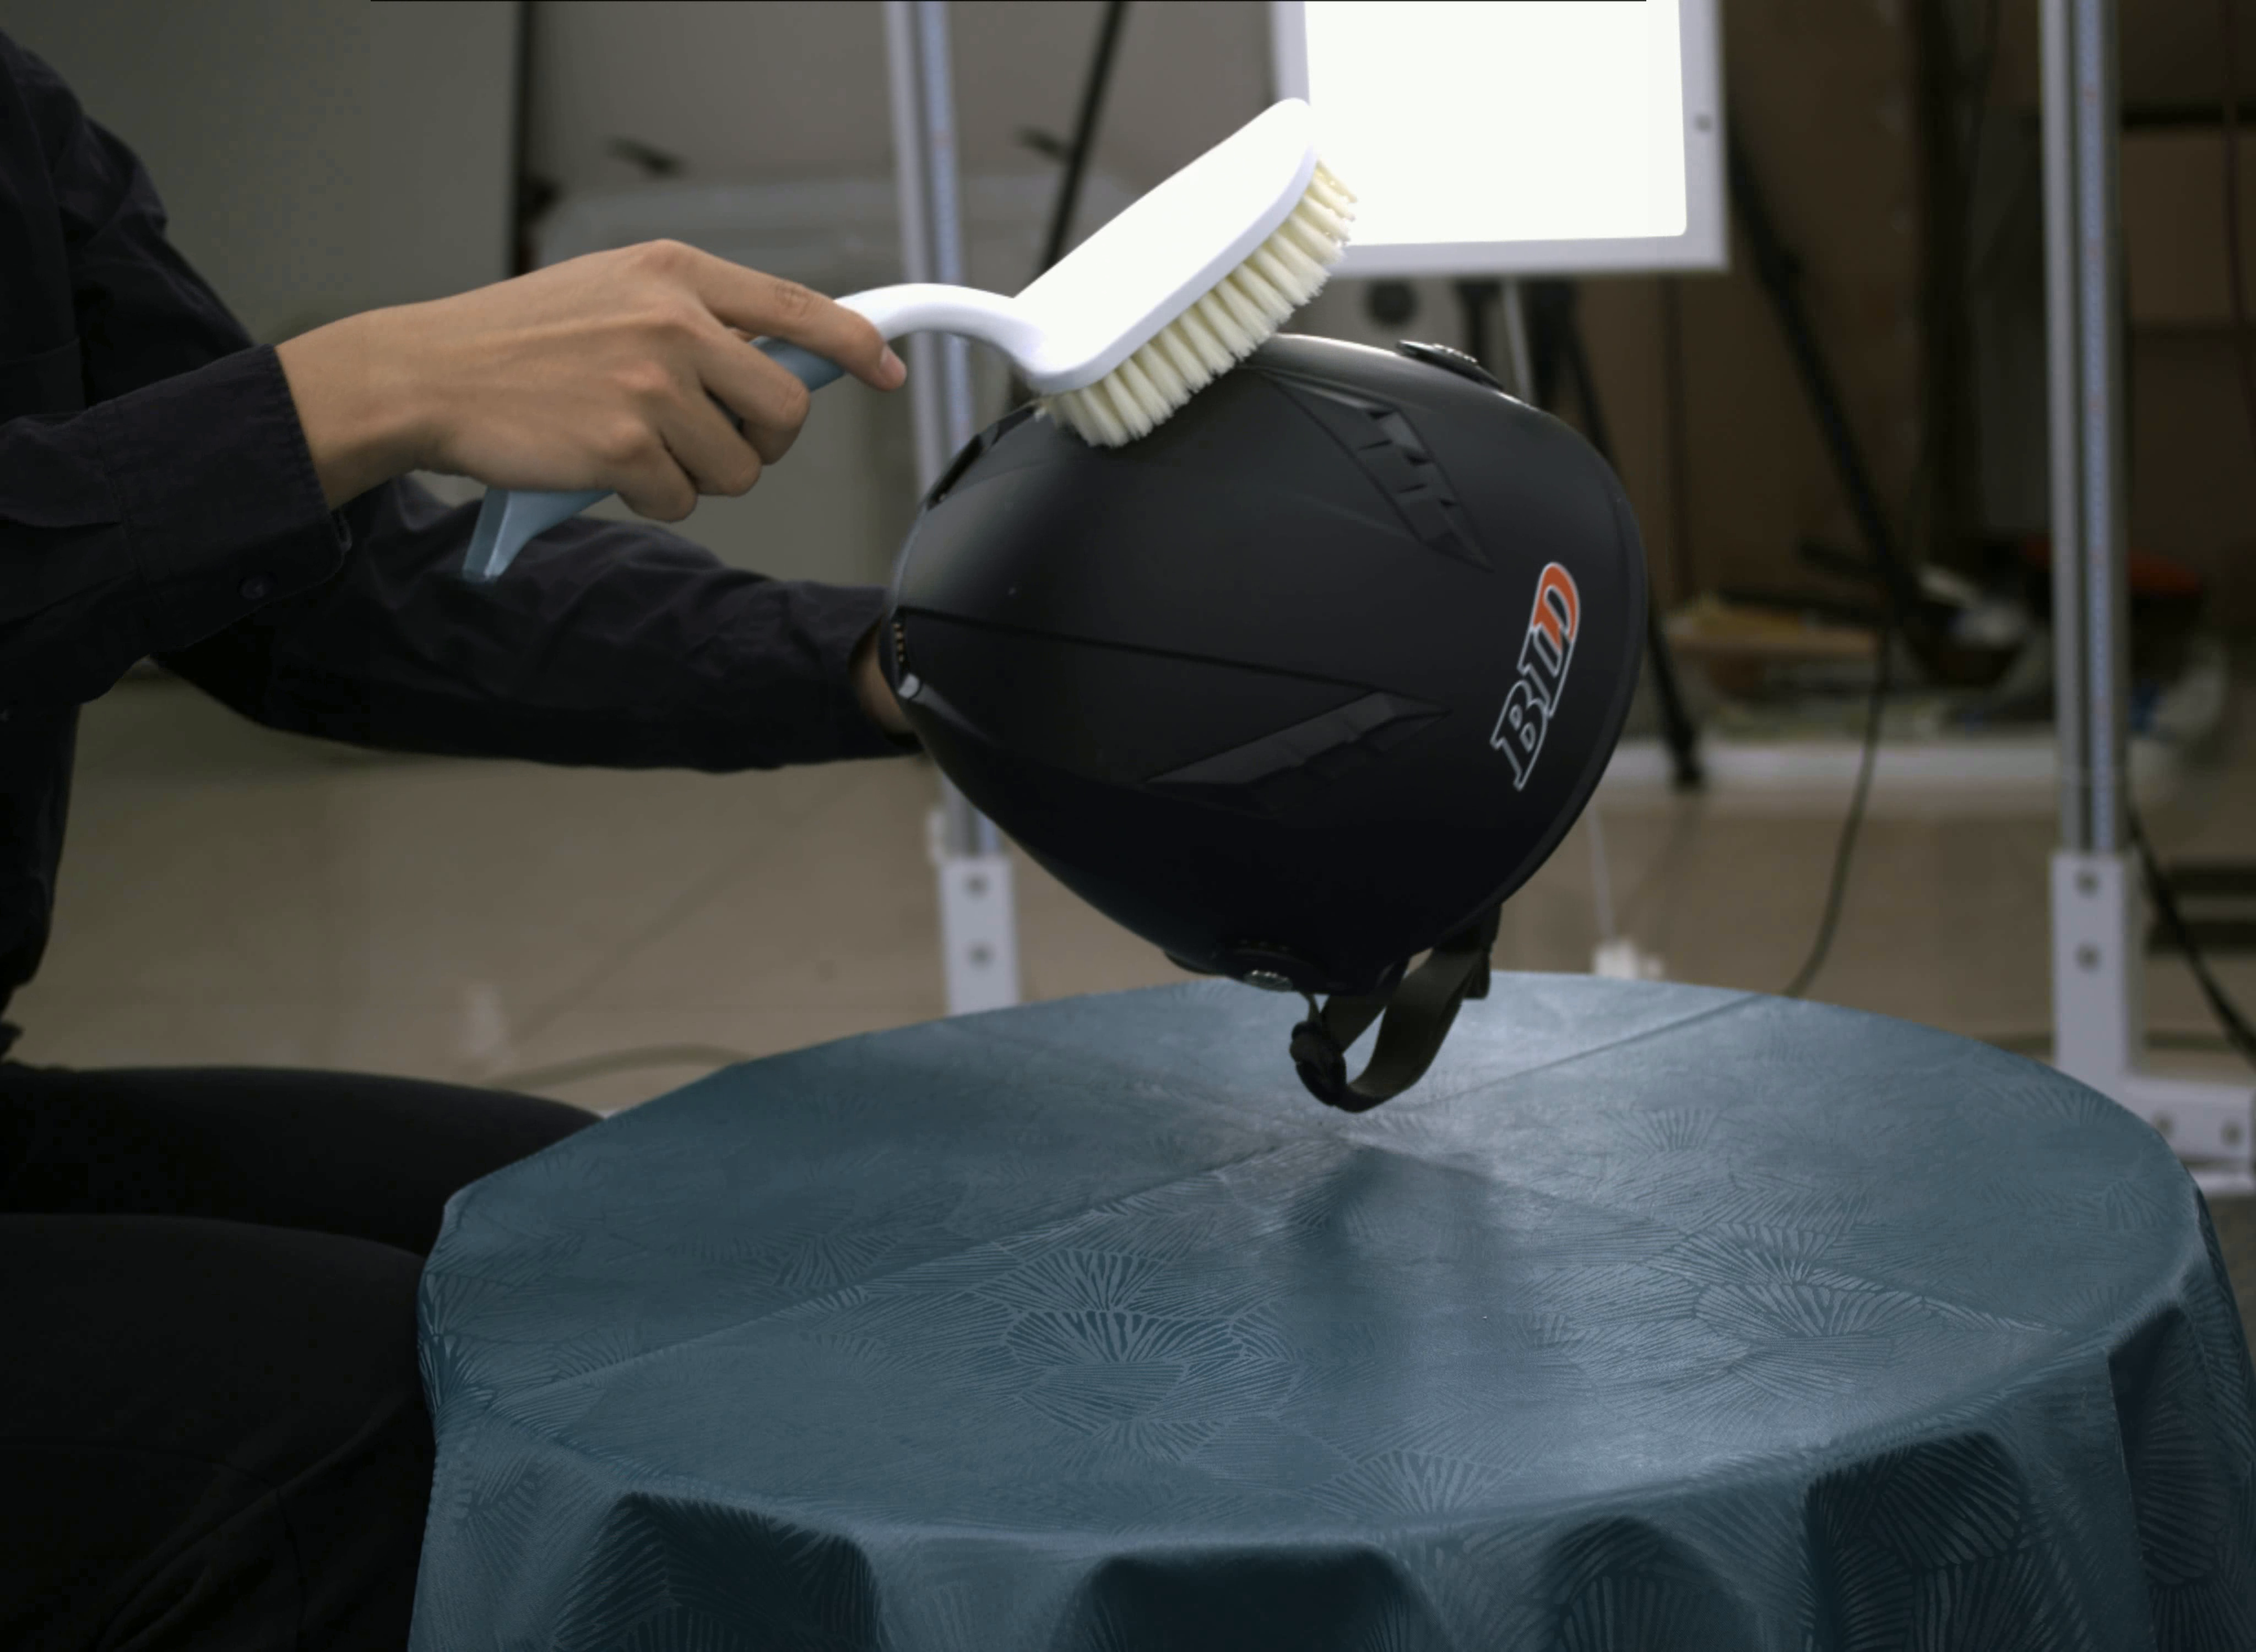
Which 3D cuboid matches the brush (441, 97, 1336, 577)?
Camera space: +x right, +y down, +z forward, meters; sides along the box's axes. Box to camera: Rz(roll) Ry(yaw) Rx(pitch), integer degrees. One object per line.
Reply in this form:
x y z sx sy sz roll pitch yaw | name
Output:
-0.073 -0.137 1.810 0.322 0.085 0.083 -29 -7 -10 | brush

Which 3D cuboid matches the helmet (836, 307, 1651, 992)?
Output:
0.030 -0.073 1.856 0.169 0.246 0.282 23 -9 -38 | helmet
